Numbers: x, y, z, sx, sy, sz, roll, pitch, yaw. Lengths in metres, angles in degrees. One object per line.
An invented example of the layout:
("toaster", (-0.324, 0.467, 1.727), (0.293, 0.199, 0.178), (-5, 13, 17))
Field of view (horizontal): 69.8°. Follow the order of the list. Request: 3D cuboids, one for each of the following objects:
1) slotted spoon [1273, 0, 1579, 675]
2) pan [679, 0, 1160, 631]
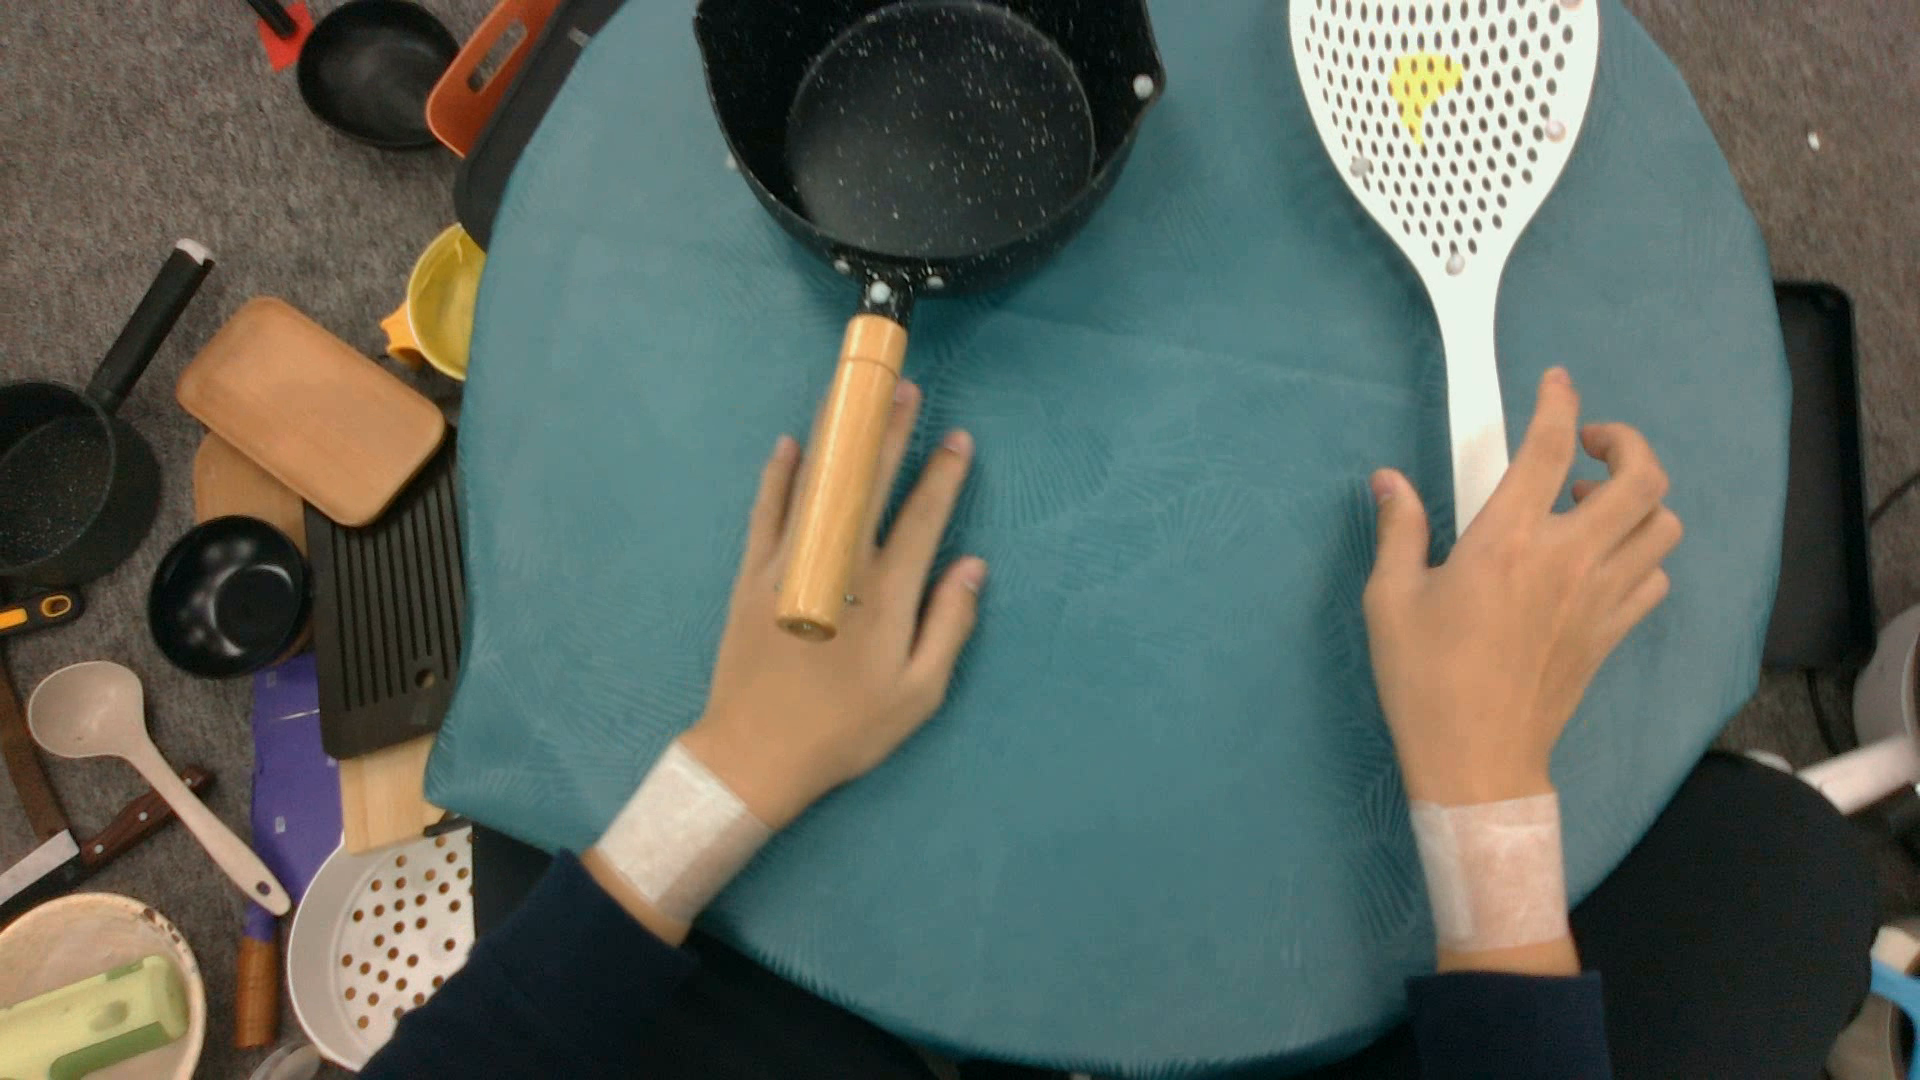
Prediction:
("slotted spoon", (0.215, -0.116, 0.611), (0.137, 0.050, 0.348), (-3, 76, 0))
("pan", (-0.029, -0.121, 0.589), (0.207, 0.108, 0.343), (9, 77, 3))
